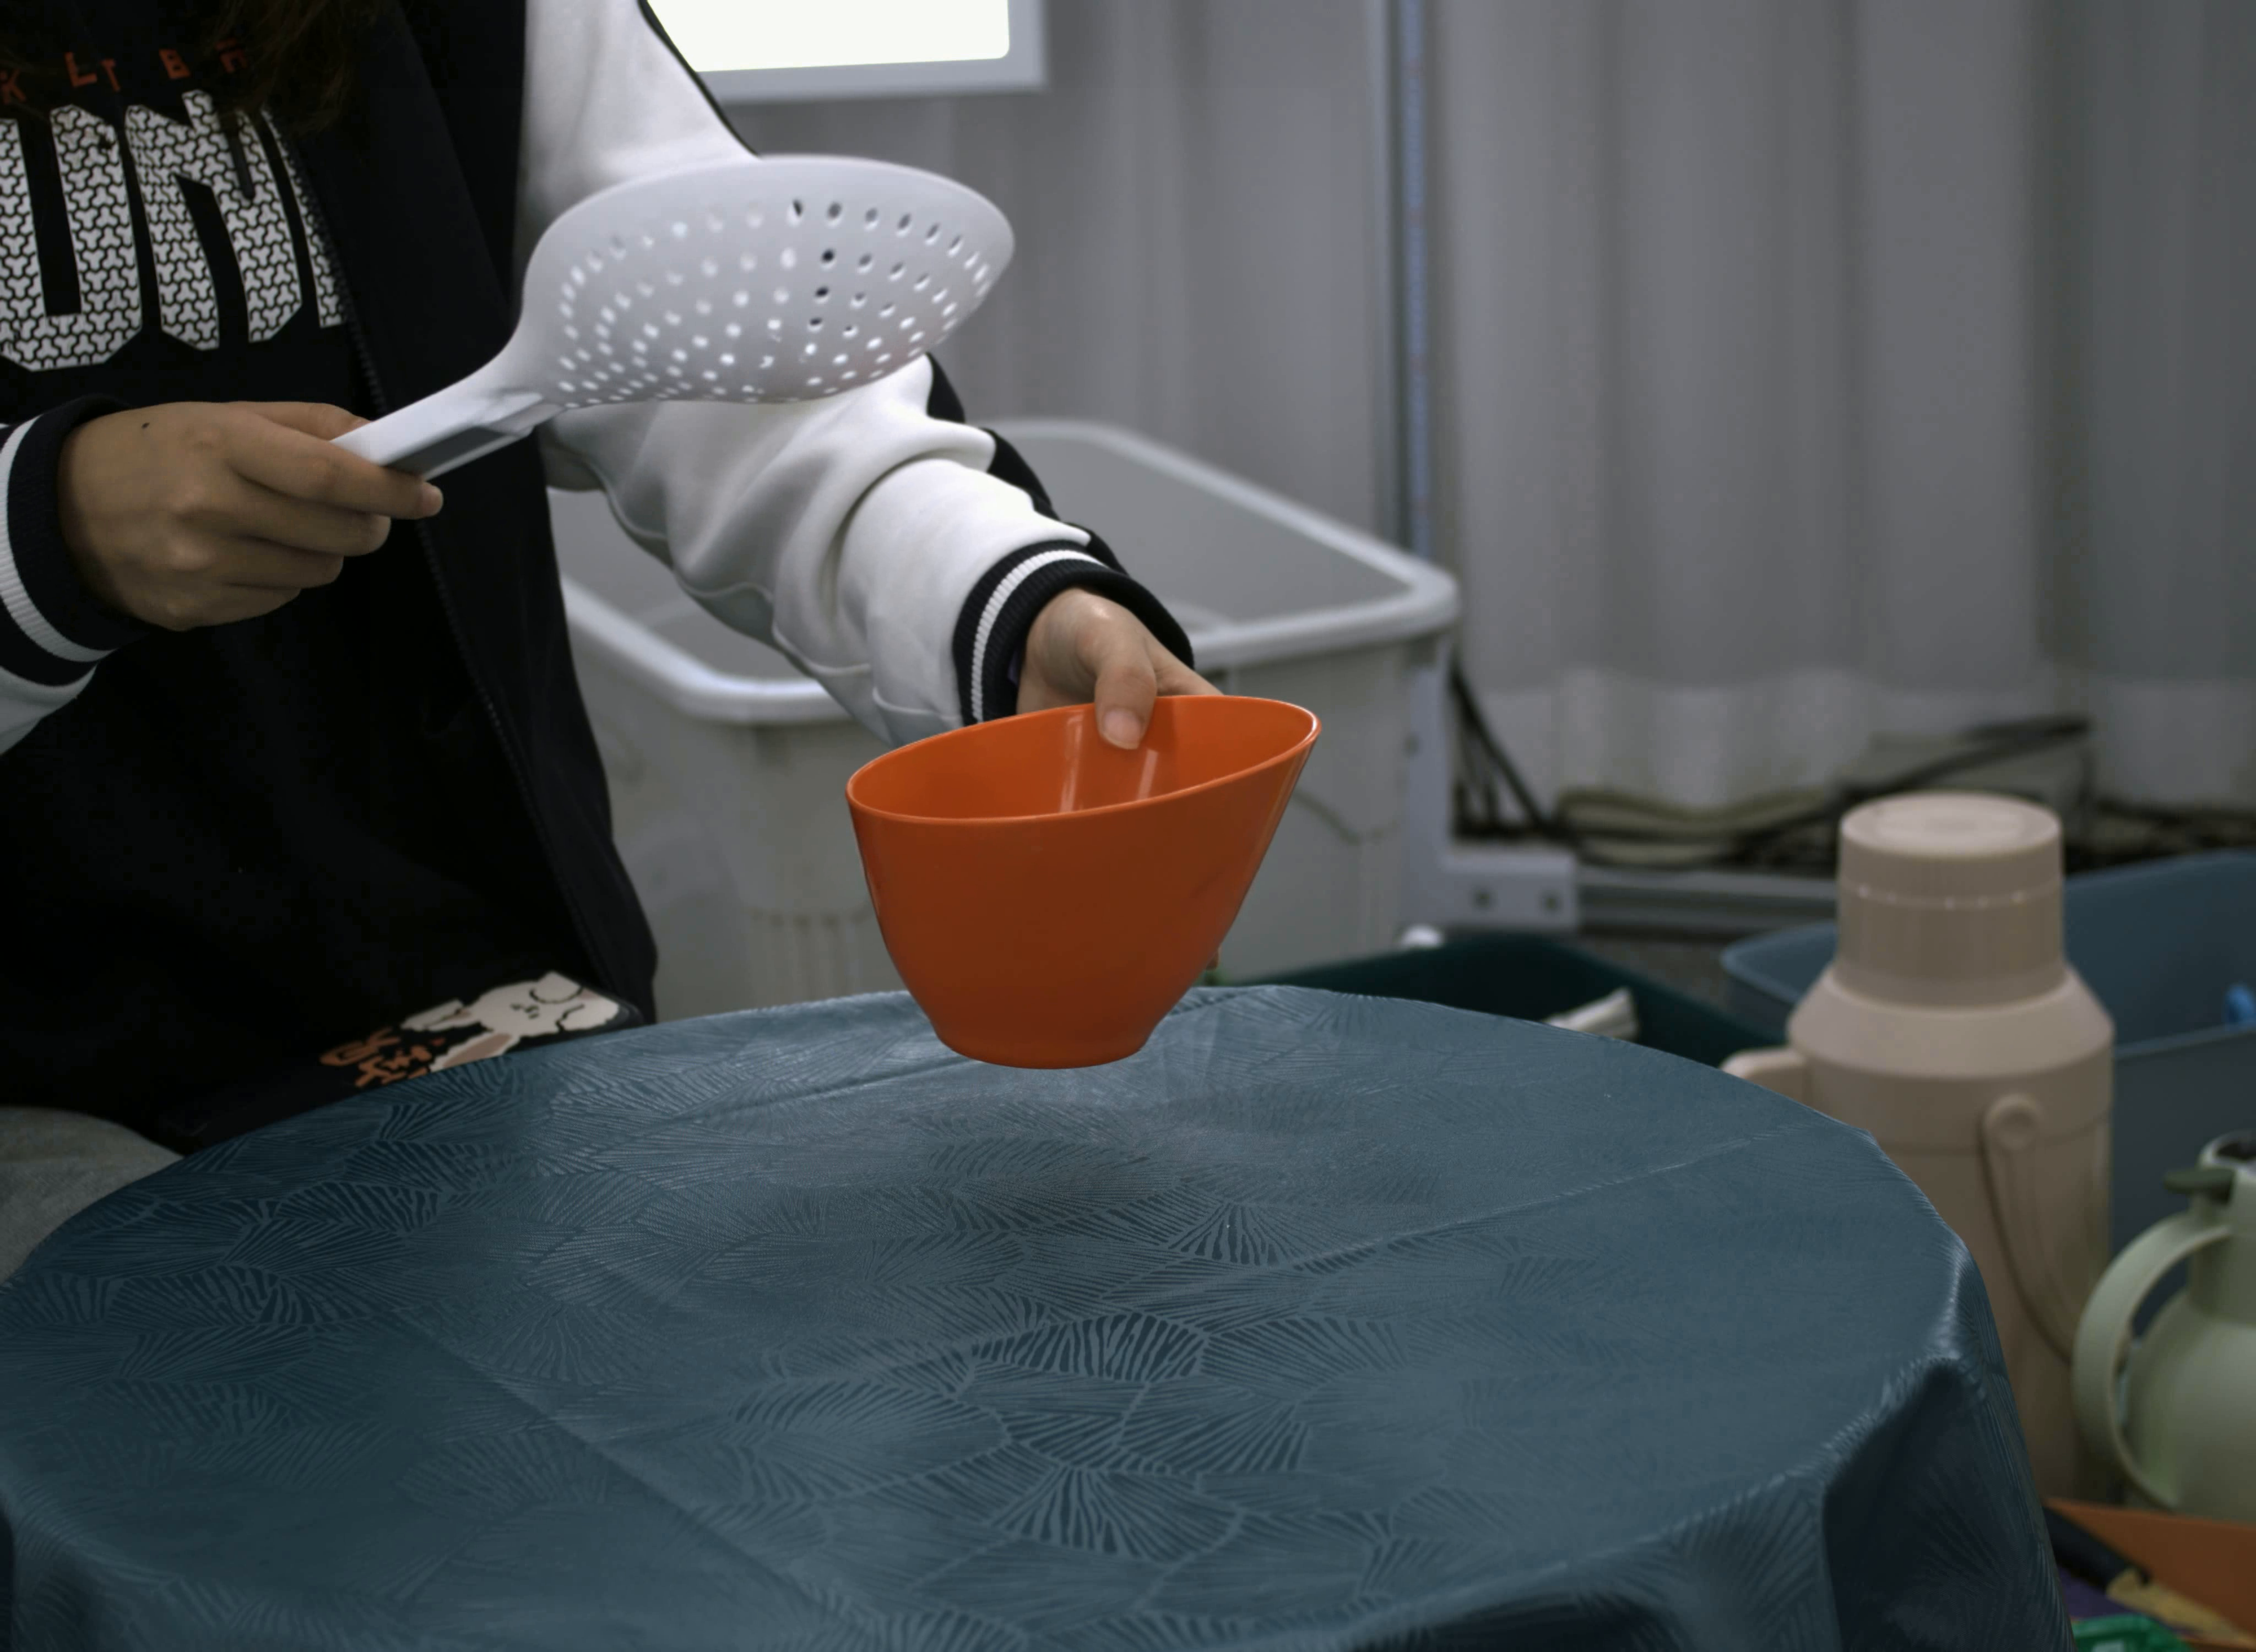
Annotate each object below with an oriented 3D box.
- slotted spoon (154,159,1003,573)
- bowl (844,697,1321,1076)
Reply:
[{"bbox_3d":[-0.179,-0.130,1.629,0.349,0.046,0.135,-13,-17,43],"label":"slotted spoon"},{"bbox_3d":[-0.015,0.019,1.692,0.147,0.104,0.149,0,17,0],"label":"bowl"}]
